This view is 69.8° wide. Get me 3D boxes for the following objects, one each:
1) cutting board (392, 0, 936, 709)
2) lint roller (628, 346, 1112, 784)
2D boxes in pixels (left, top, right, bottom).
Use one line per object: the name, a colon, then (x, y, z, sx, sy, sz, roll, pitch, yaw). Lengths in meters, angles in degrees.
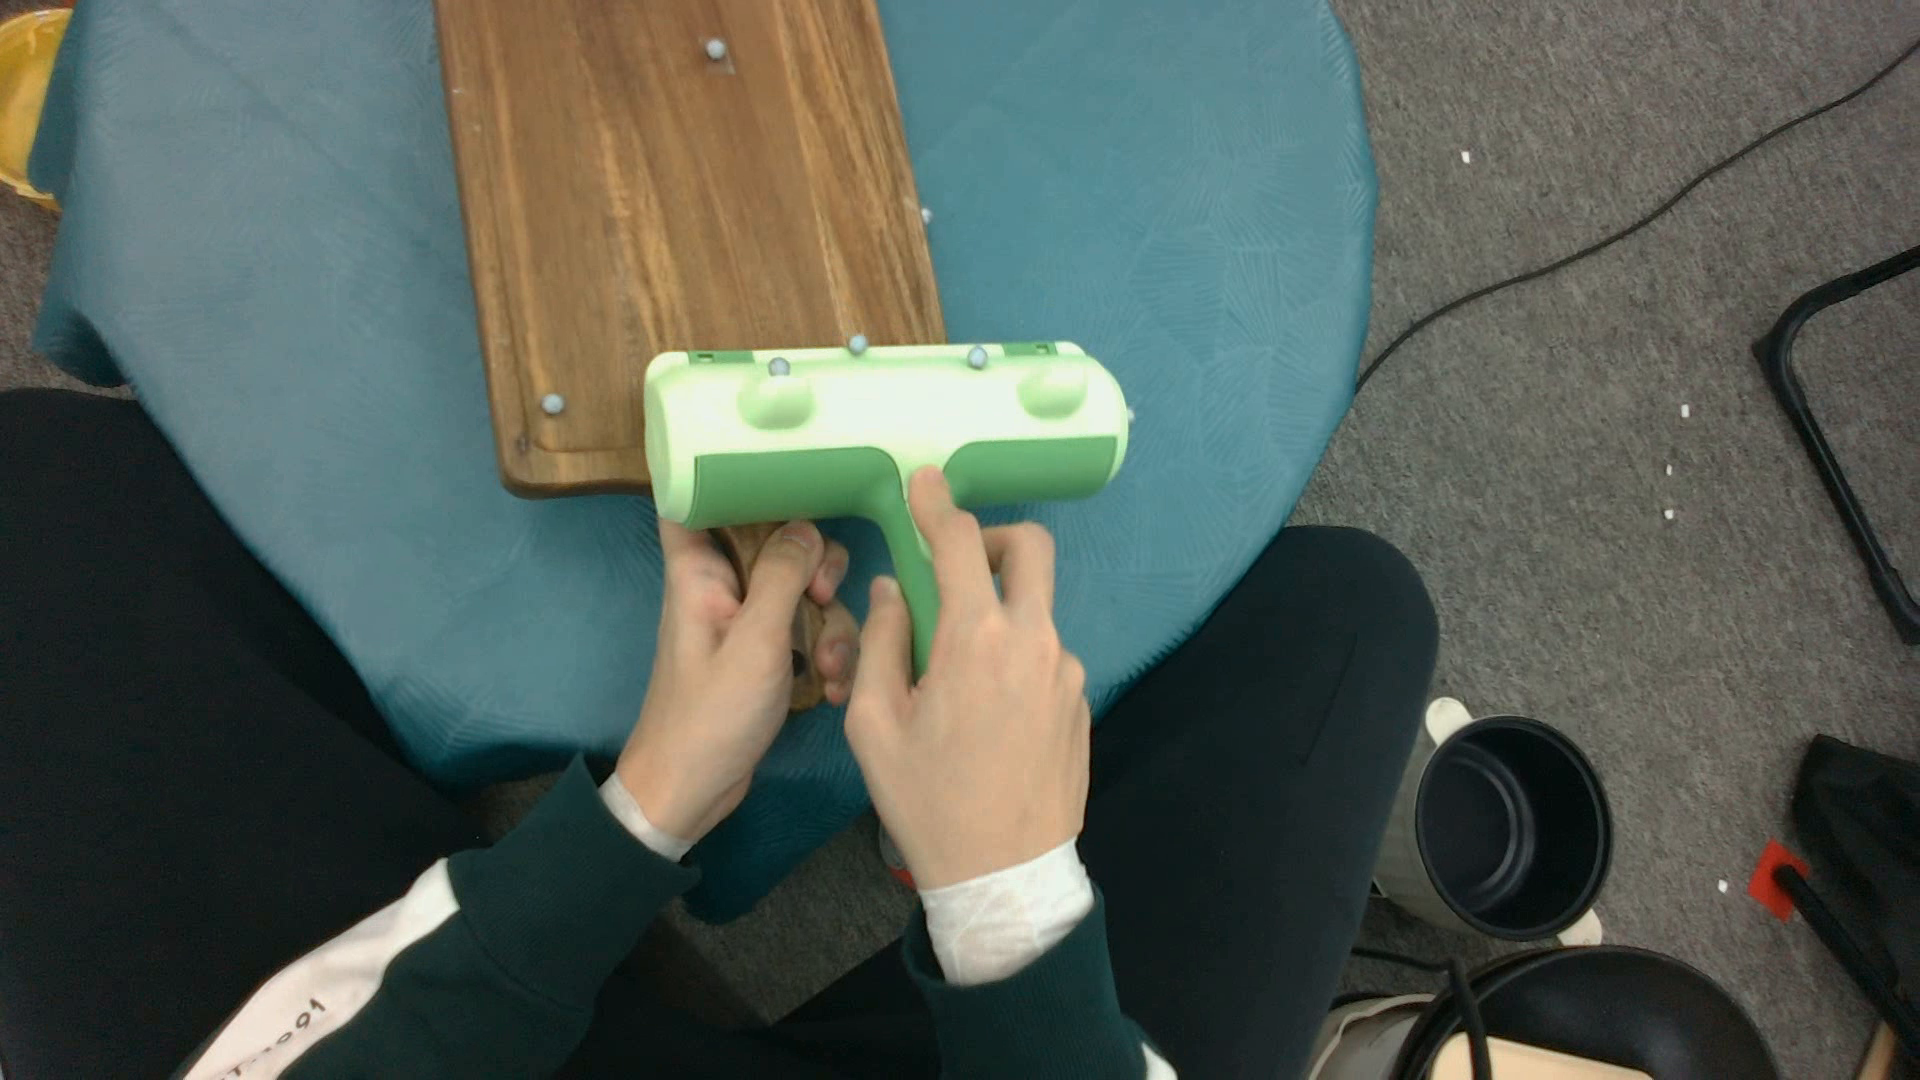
cutting board: (-0.110, -0.101, 0.582, 0.201, 0.023, 0.352, -8, 78, -27)
lint roller: (-0.012, -0.004, 0.522, 0.199, 0.082, 0.184, -5, 54, -26)
